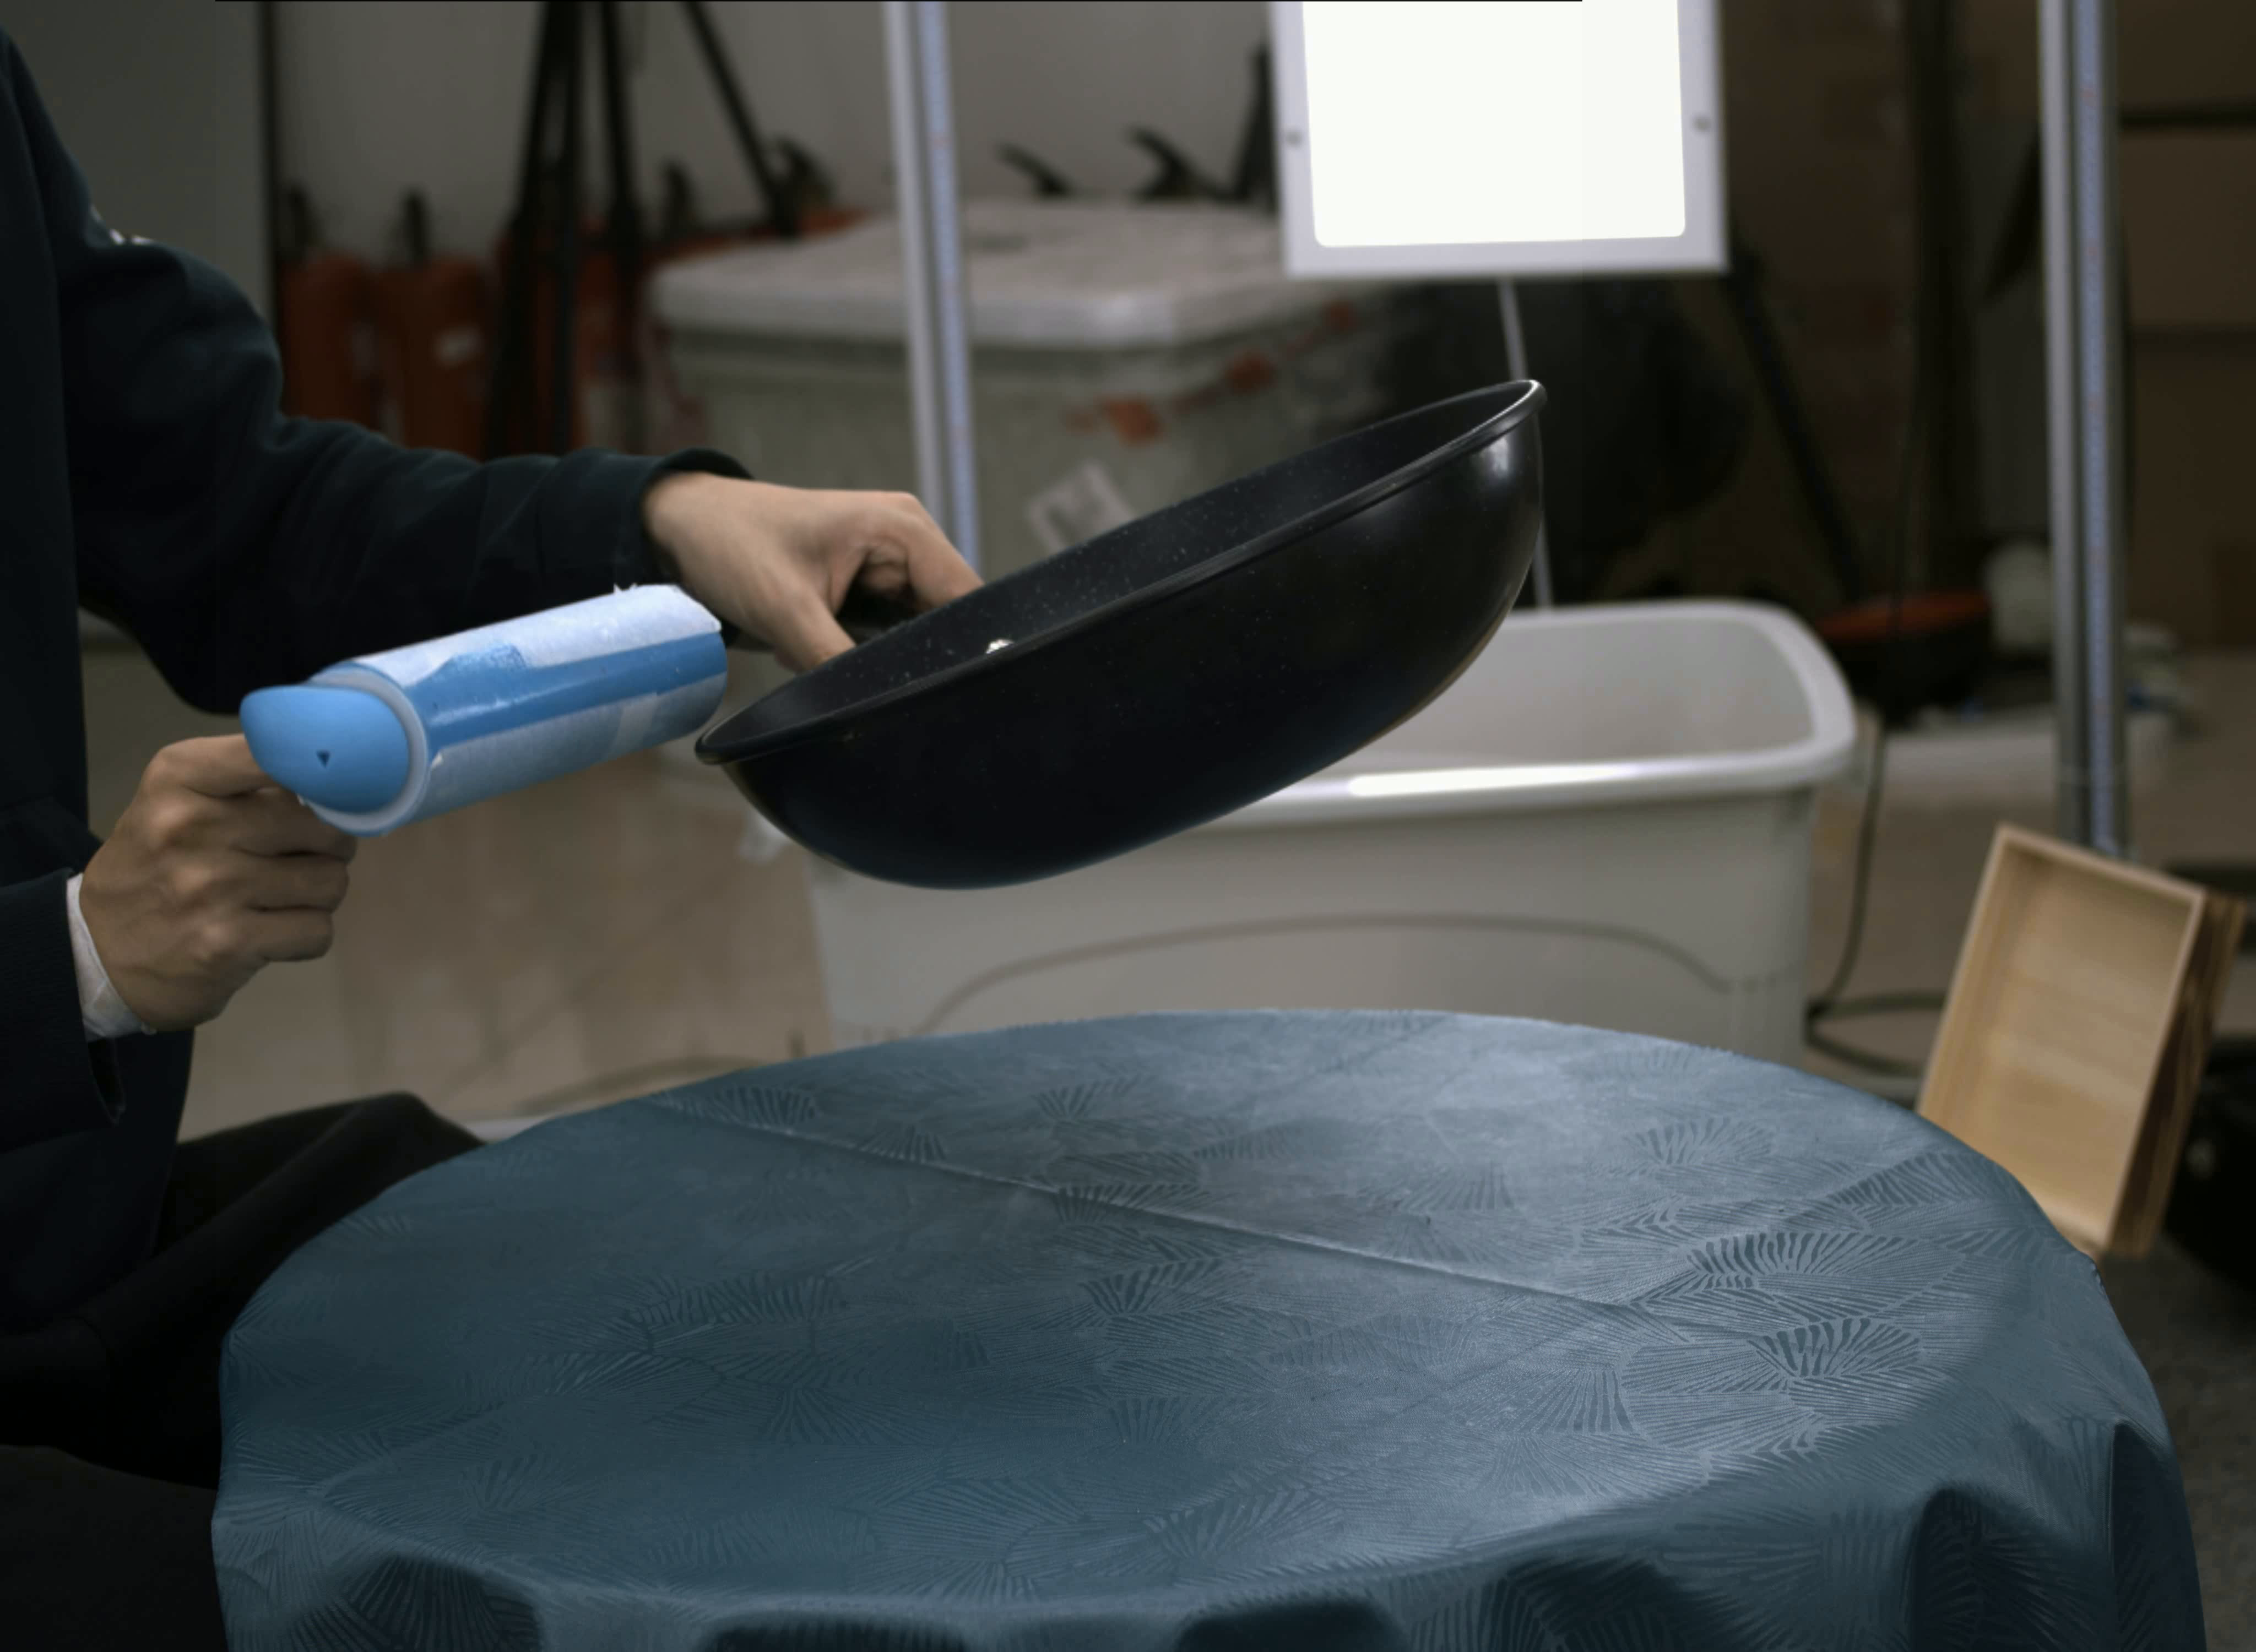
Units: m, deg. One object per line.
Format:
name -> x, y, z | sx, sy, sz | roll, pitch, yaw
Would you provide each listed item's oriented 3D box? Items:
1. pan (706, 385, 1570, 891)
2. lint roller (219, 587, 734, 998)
pan -> -0.026, -0.053, 1.905 | 0.304, 0.112, 0.486 | -25, 7, -27
lint roller -> -0.241, -0.012, 1.798 | 0.183, 0.068, 0.225 | -30, -2, 23
